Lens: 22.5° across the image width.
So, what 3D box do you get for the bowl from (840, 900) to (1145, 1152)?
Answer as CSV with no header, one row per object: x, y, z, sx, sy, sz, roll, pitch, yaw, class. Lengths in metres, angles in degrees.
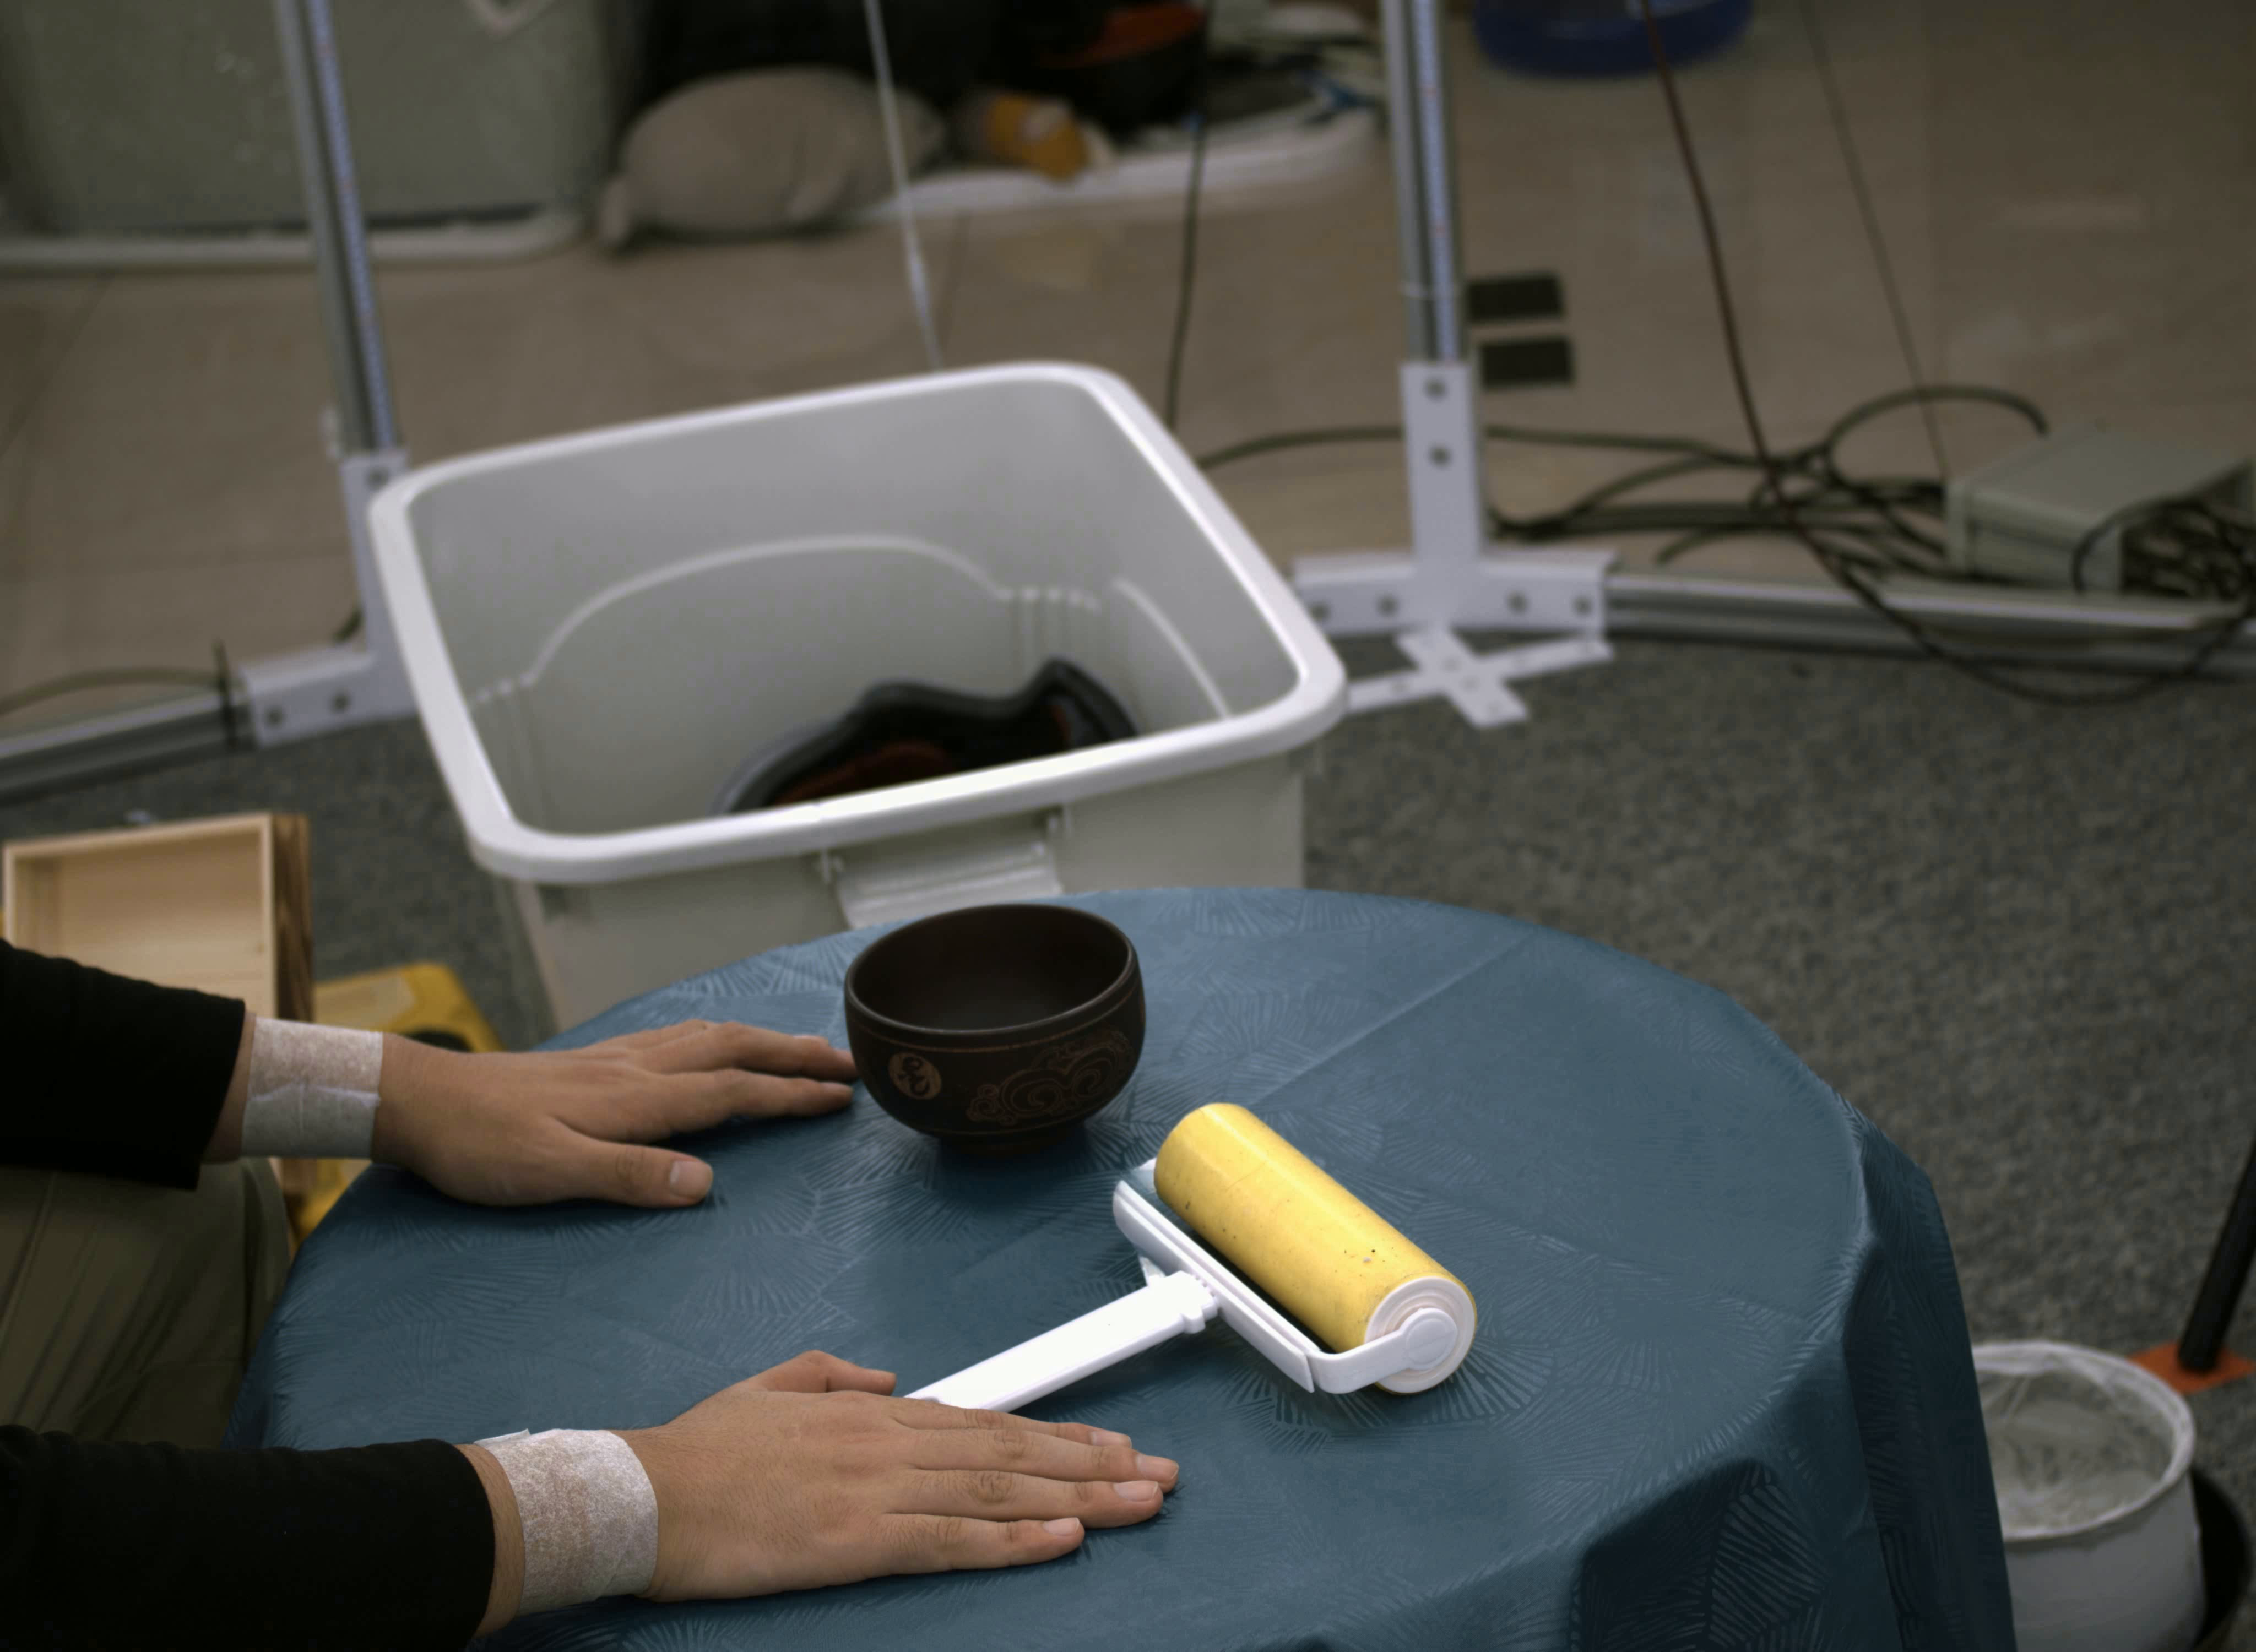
-0.051,0.083,2.191,0.118,0.071,0.116,-5,24,2,bowl

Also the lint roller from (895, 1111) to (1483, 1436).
0.004,0.169,2.019,0.191,0.052,0.172,-13,25,-25,lint roller
